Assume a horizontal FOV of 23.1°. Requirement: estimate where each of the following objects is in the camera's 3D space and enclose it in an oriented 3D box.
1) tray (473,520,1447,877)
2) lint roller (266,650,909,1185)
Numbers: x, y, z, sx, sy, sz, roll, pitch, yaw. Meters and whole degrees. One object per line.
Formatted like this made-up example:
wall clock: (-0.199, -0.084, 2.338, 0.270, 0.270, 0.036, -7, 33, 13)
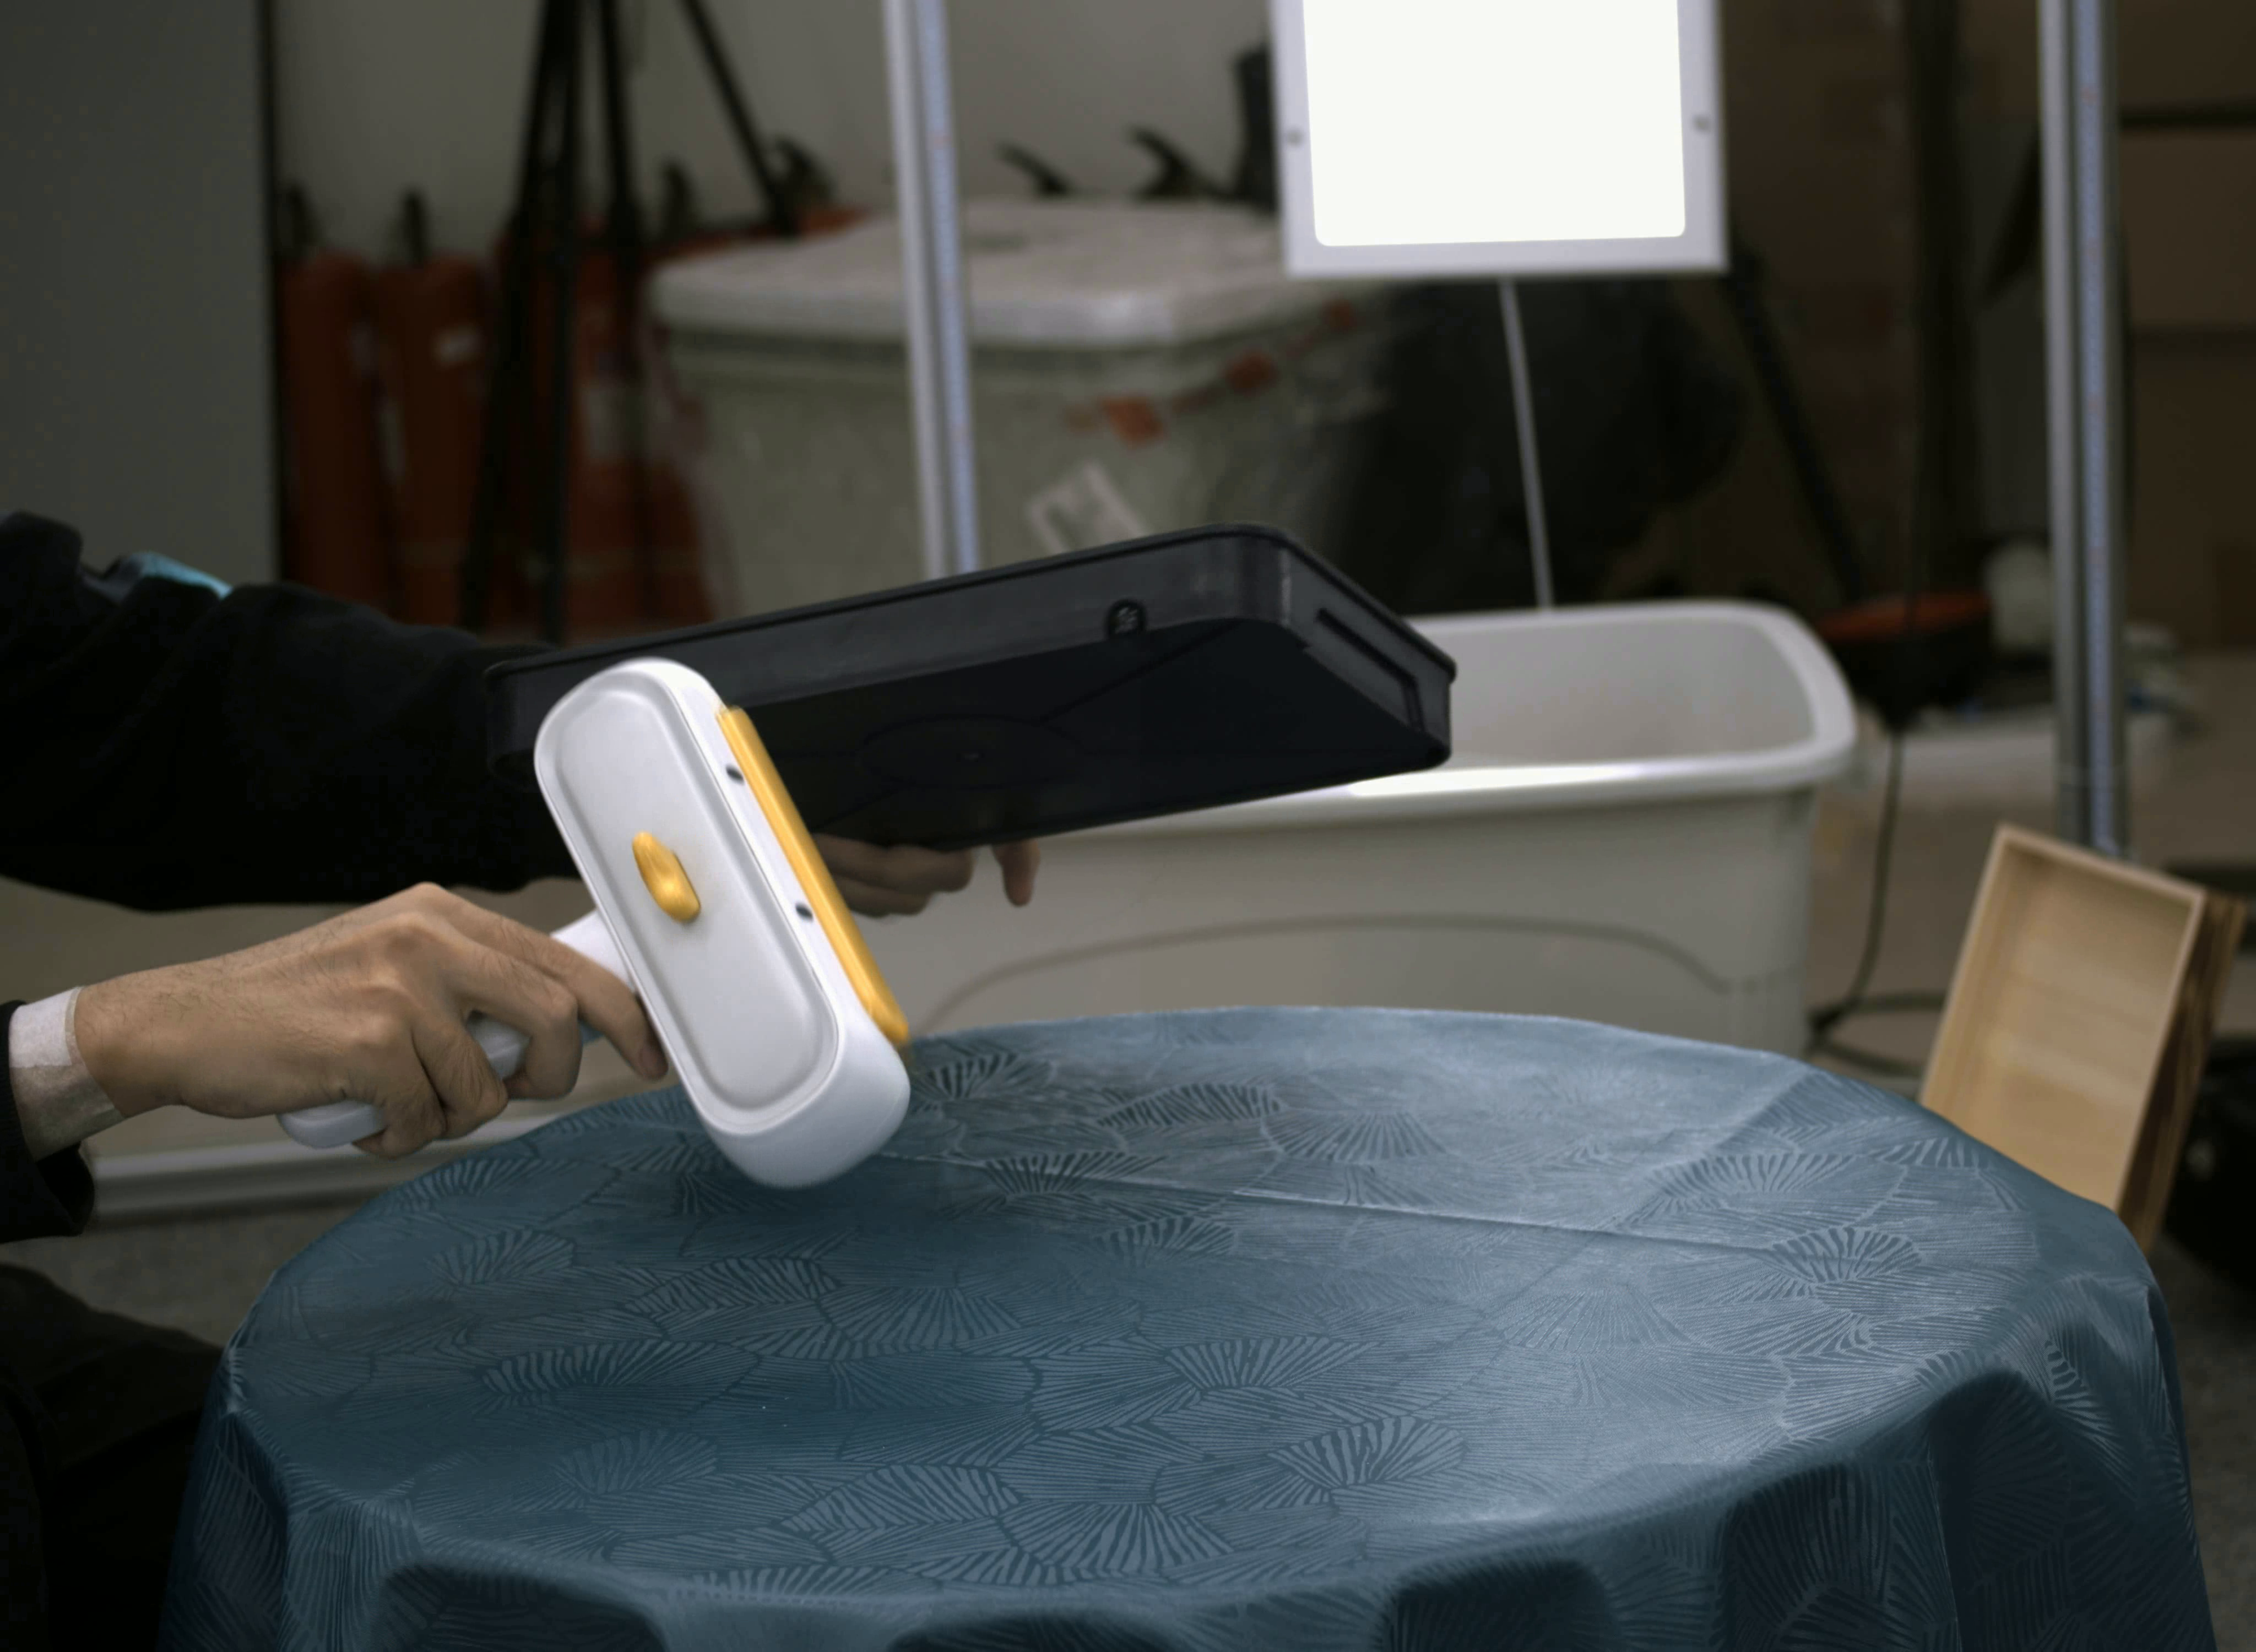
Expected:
tray: (-0.059, -0.038, 1.964, 0.323, 0.037, 0.181, -9, -21, 25)
lint roller: (-0.186, 0.055, 1.775, 0.192, 0.194, 0.073, -33, -26, 1)
